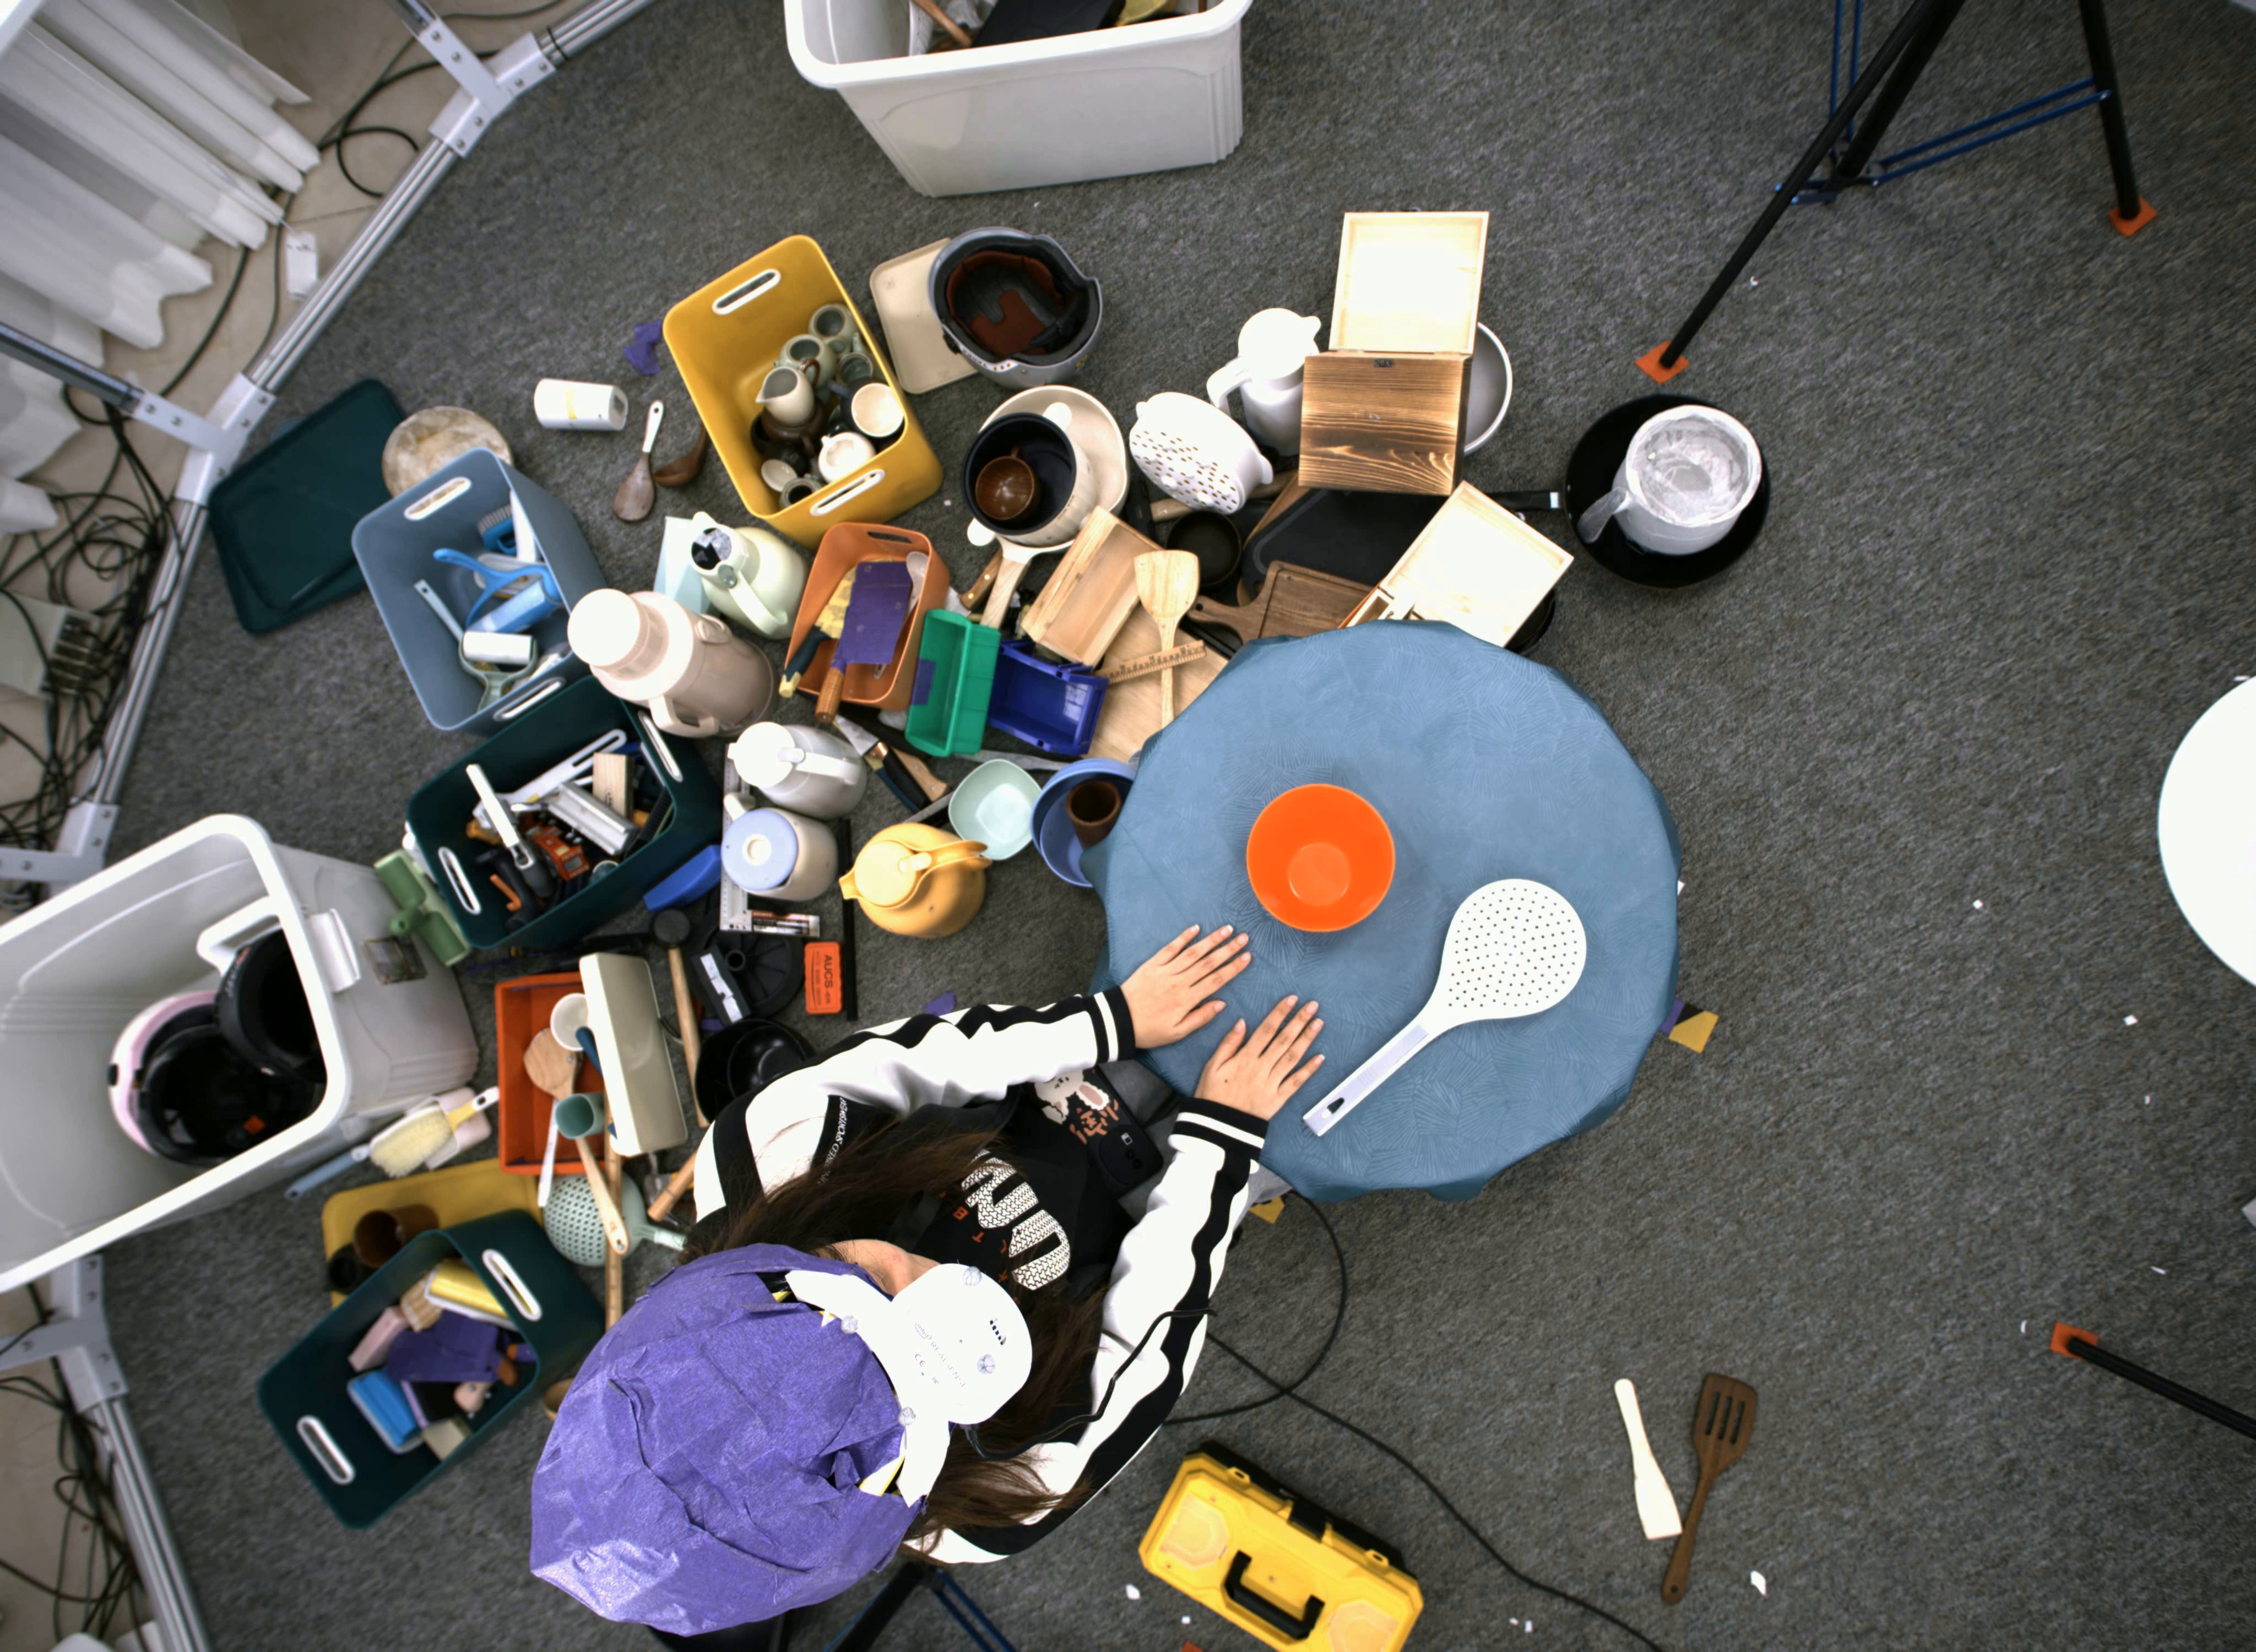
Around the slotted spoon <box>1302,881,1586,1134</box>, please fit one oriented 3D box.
[{"bbox_3d":[0.317,0.195,1.422,0.351,0.046,0.135,-42,79,6],"label":"slotted spoon"}]

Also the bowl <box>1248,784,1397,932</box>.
[{"bbox_3d":[0.199,0.035,1.423,0.148,0.104,0.147,0,88,7],"label":"bowl"}]
